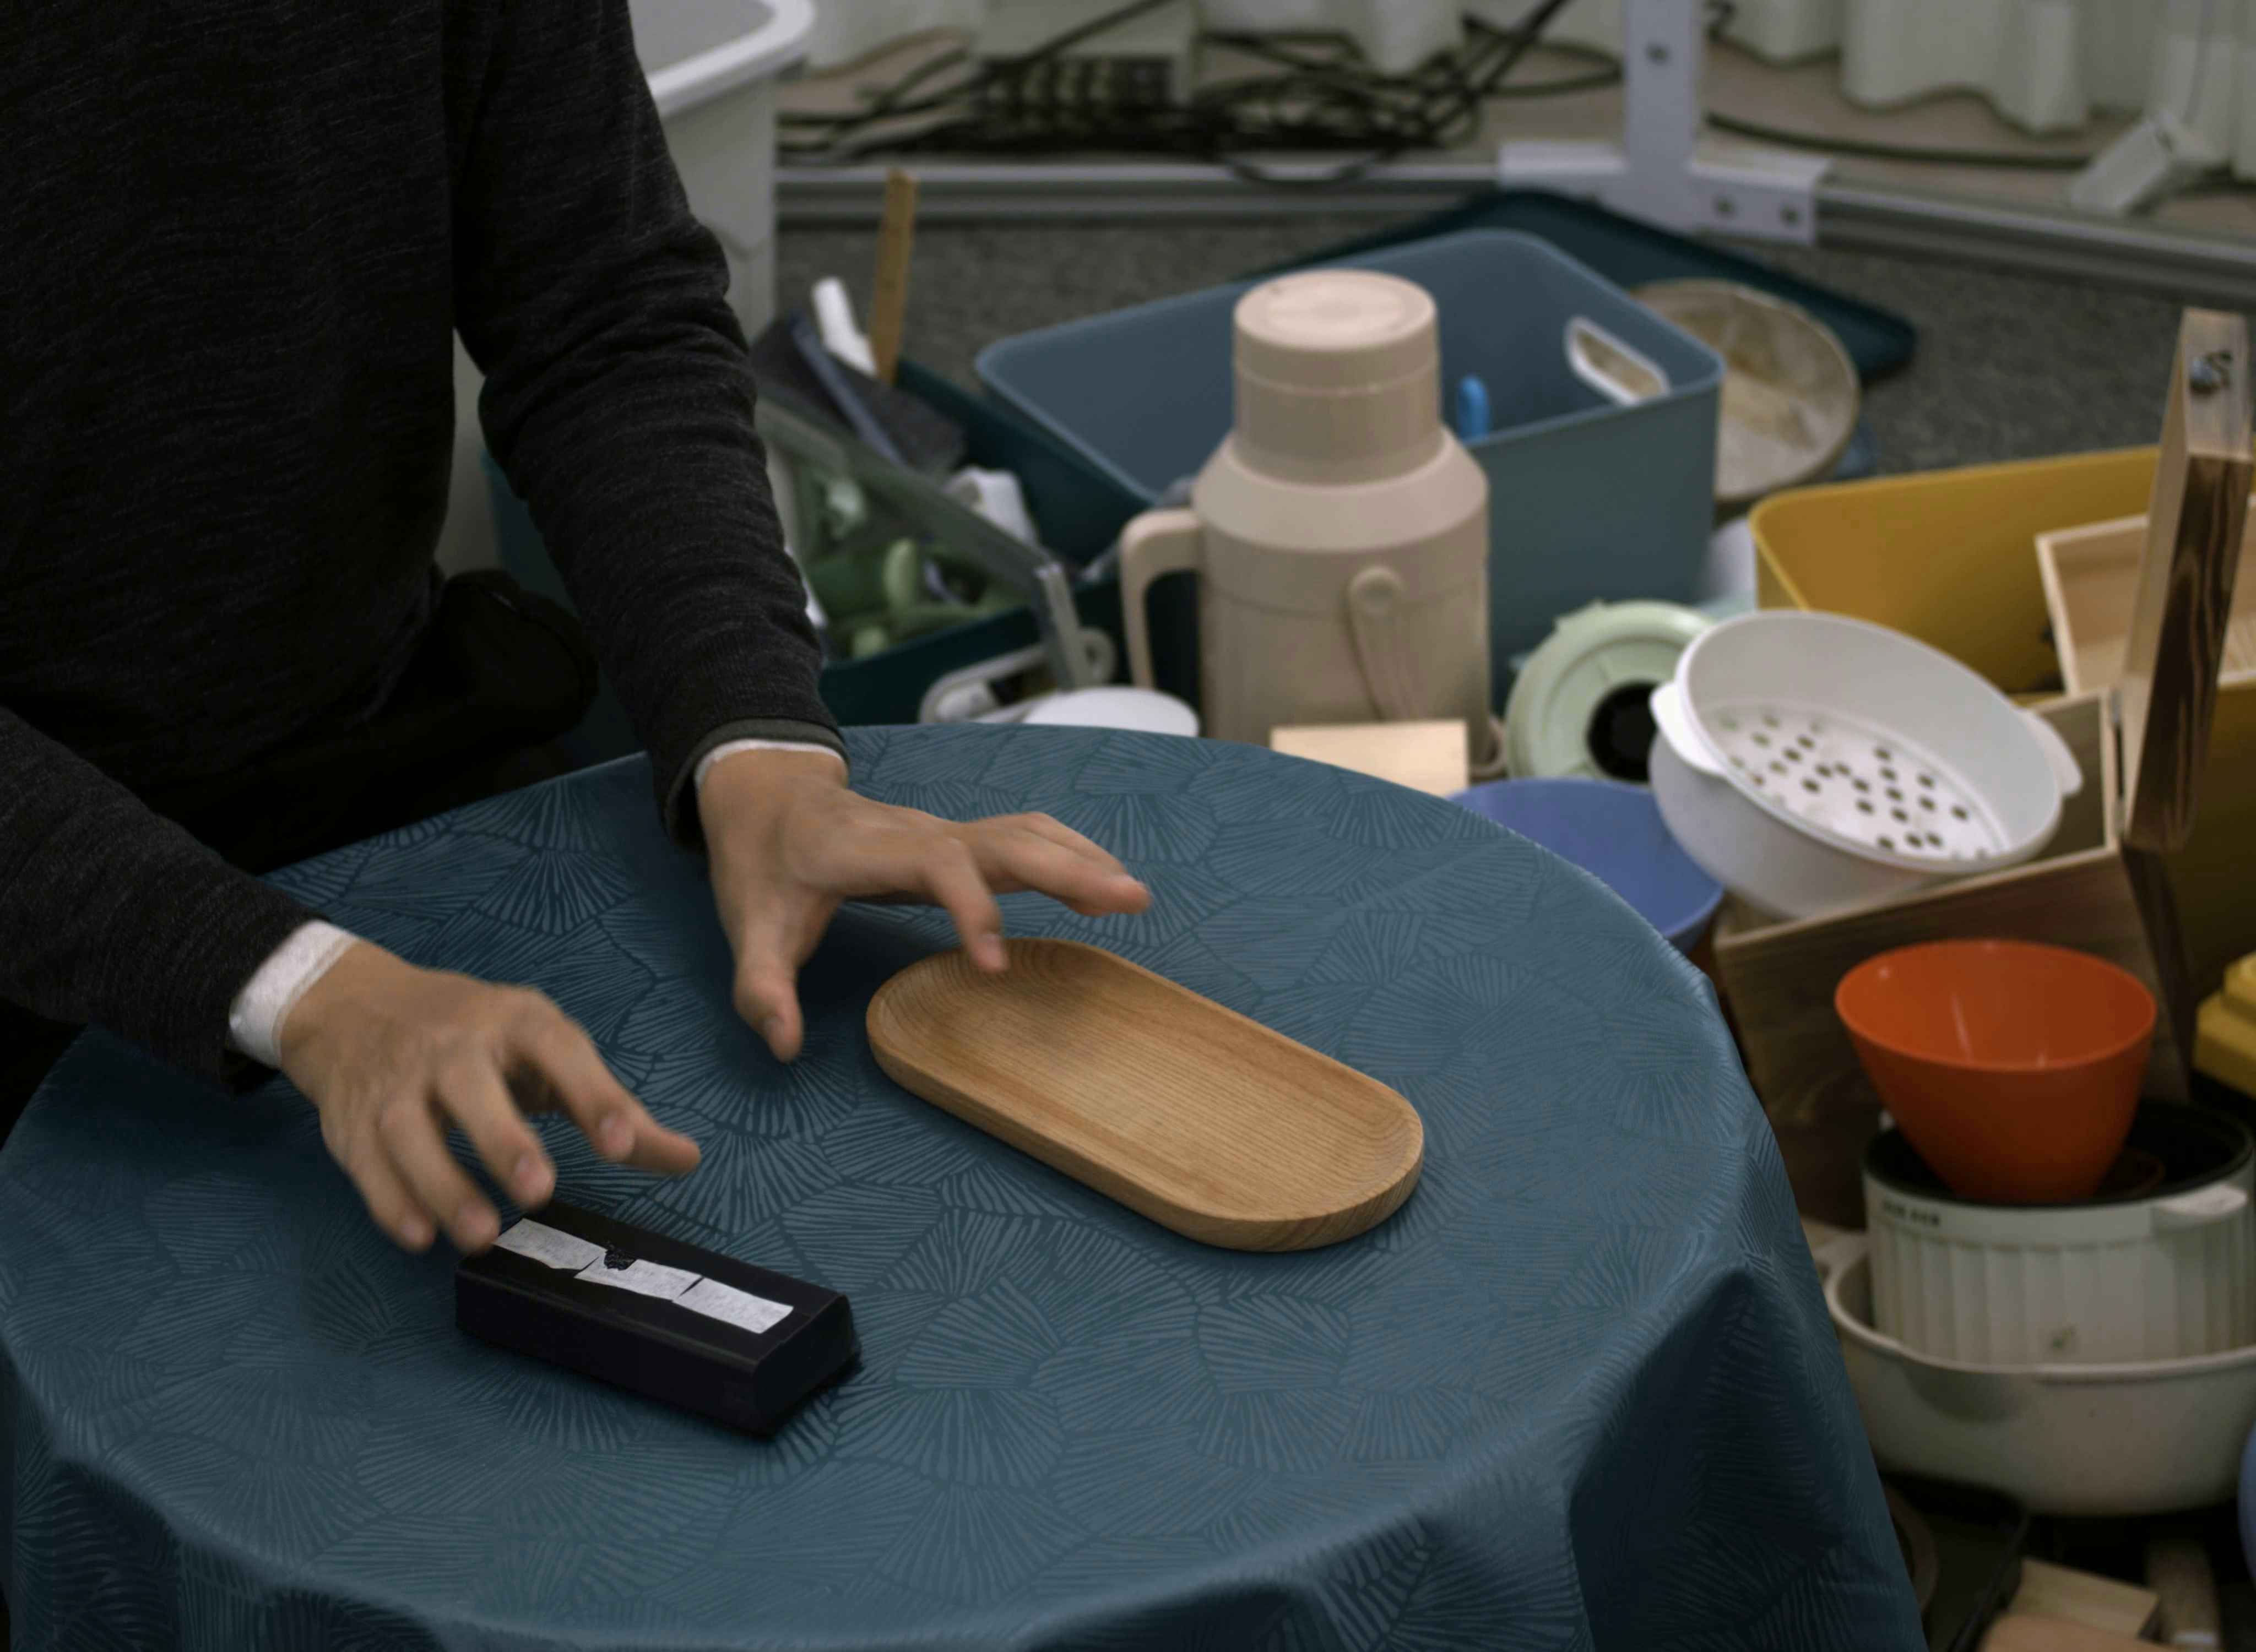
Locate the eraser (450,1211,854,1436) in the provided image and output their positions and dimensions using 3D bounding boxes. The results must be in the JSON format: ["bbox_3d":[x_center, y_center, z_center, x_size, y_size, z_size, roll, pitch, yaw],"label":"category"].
[{"bbox_3d":[-0.150,0.157,1.778,0.125,0.030,0.054,13,29,30],"label":"eraser"}]

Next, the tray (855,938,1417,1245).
[{"bbox_3d":[0.001,0.089,1.907,0.103,0.020,0.231,-24,32,-37],"label":"tray"}]
